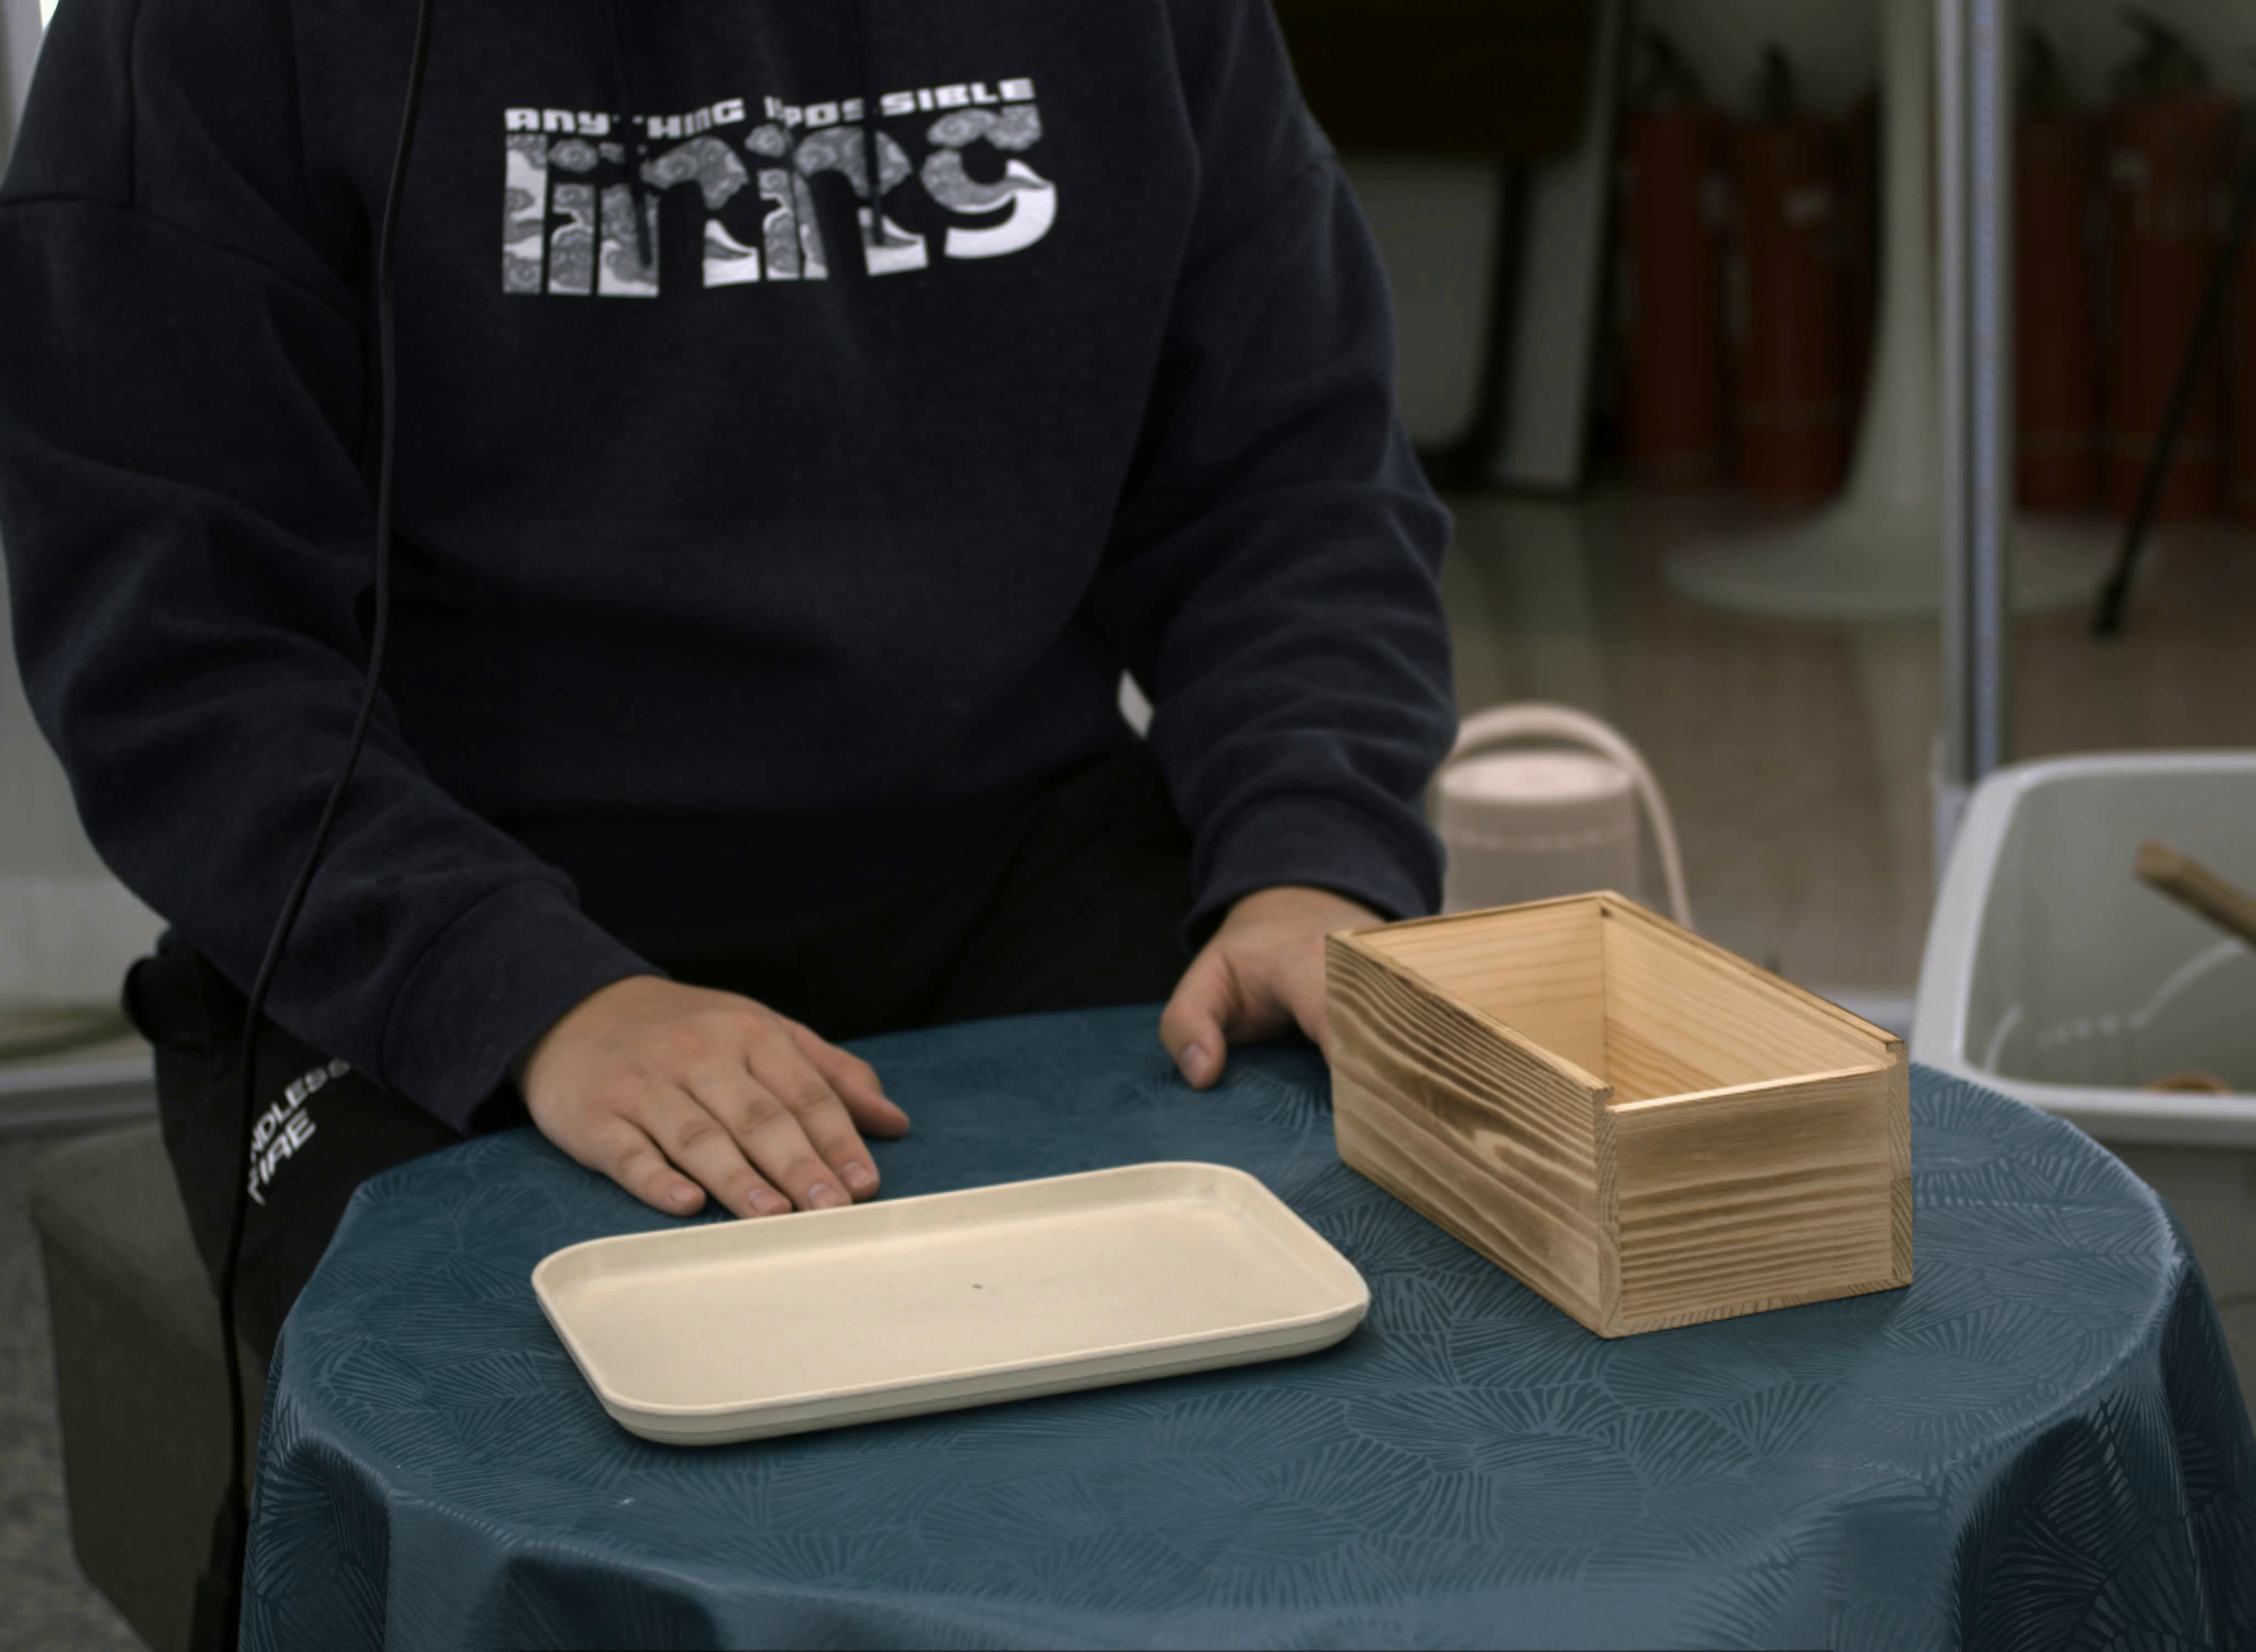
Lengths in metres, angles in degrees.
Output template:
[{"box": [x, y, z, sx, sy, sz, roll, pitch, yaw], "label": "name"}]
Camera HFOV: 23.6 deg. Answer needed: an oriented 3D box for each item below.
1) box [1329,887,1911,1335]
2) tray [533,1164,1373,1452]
[{"box": [0.152, 0.086, 1.705, 0.105, 0.081, 0.213, -8, 14, -19], "label": "box"}, {"box": [-0.055, 0.147, 1.650, 0.235, 0.017, 0.172, -8, 14, -15], "label": "tray"}]
